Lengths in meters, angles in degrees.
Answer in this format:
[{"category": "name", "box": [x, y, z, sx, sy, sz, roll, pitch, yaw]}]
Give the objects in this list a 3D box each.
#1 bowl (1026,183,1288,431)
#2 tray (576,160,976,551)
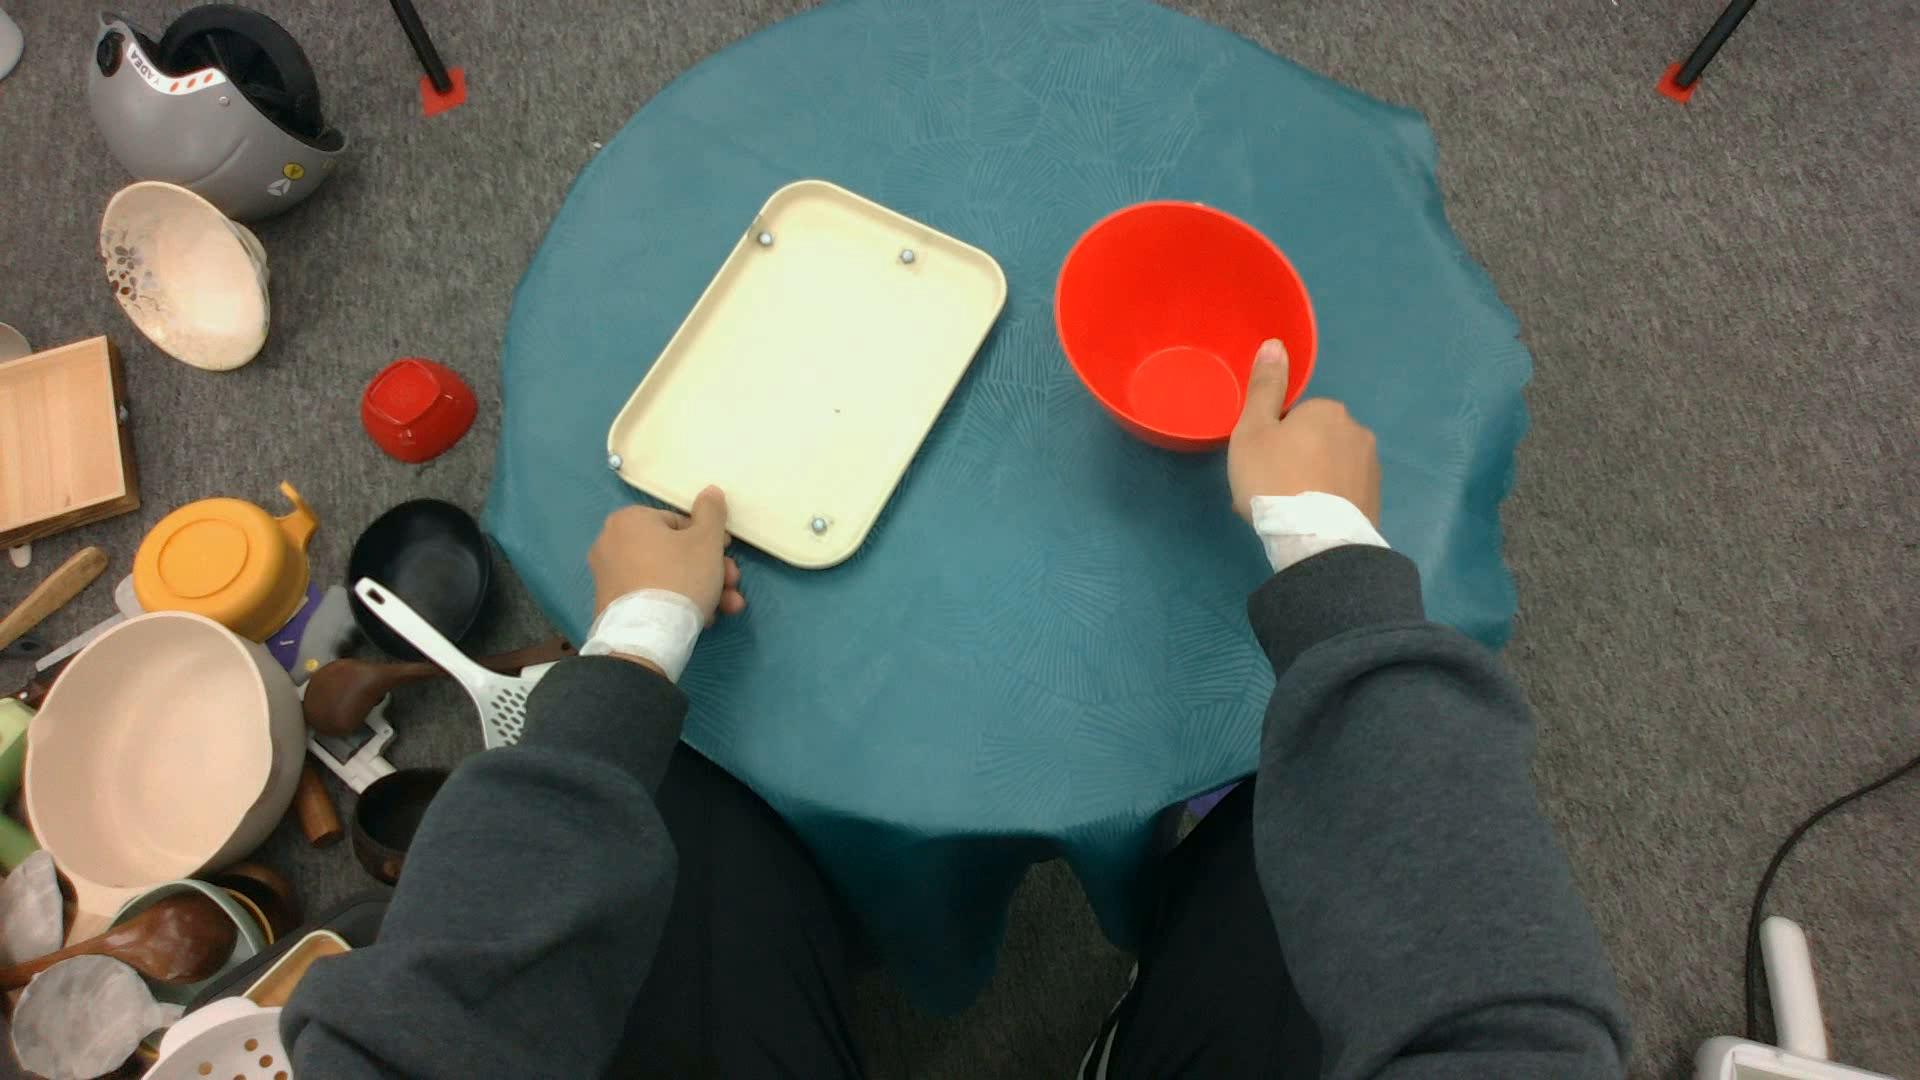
[{"category": "bowl", "box": [0.110, -0.120, 0.798, 0.148, 0.104, 0.148, 0, 67, 0]}, {"category": "tray", "box": [-0.108, -0.117, 0.839, 0.171, 0.017, 0.240, 26, 70, 9]}]
